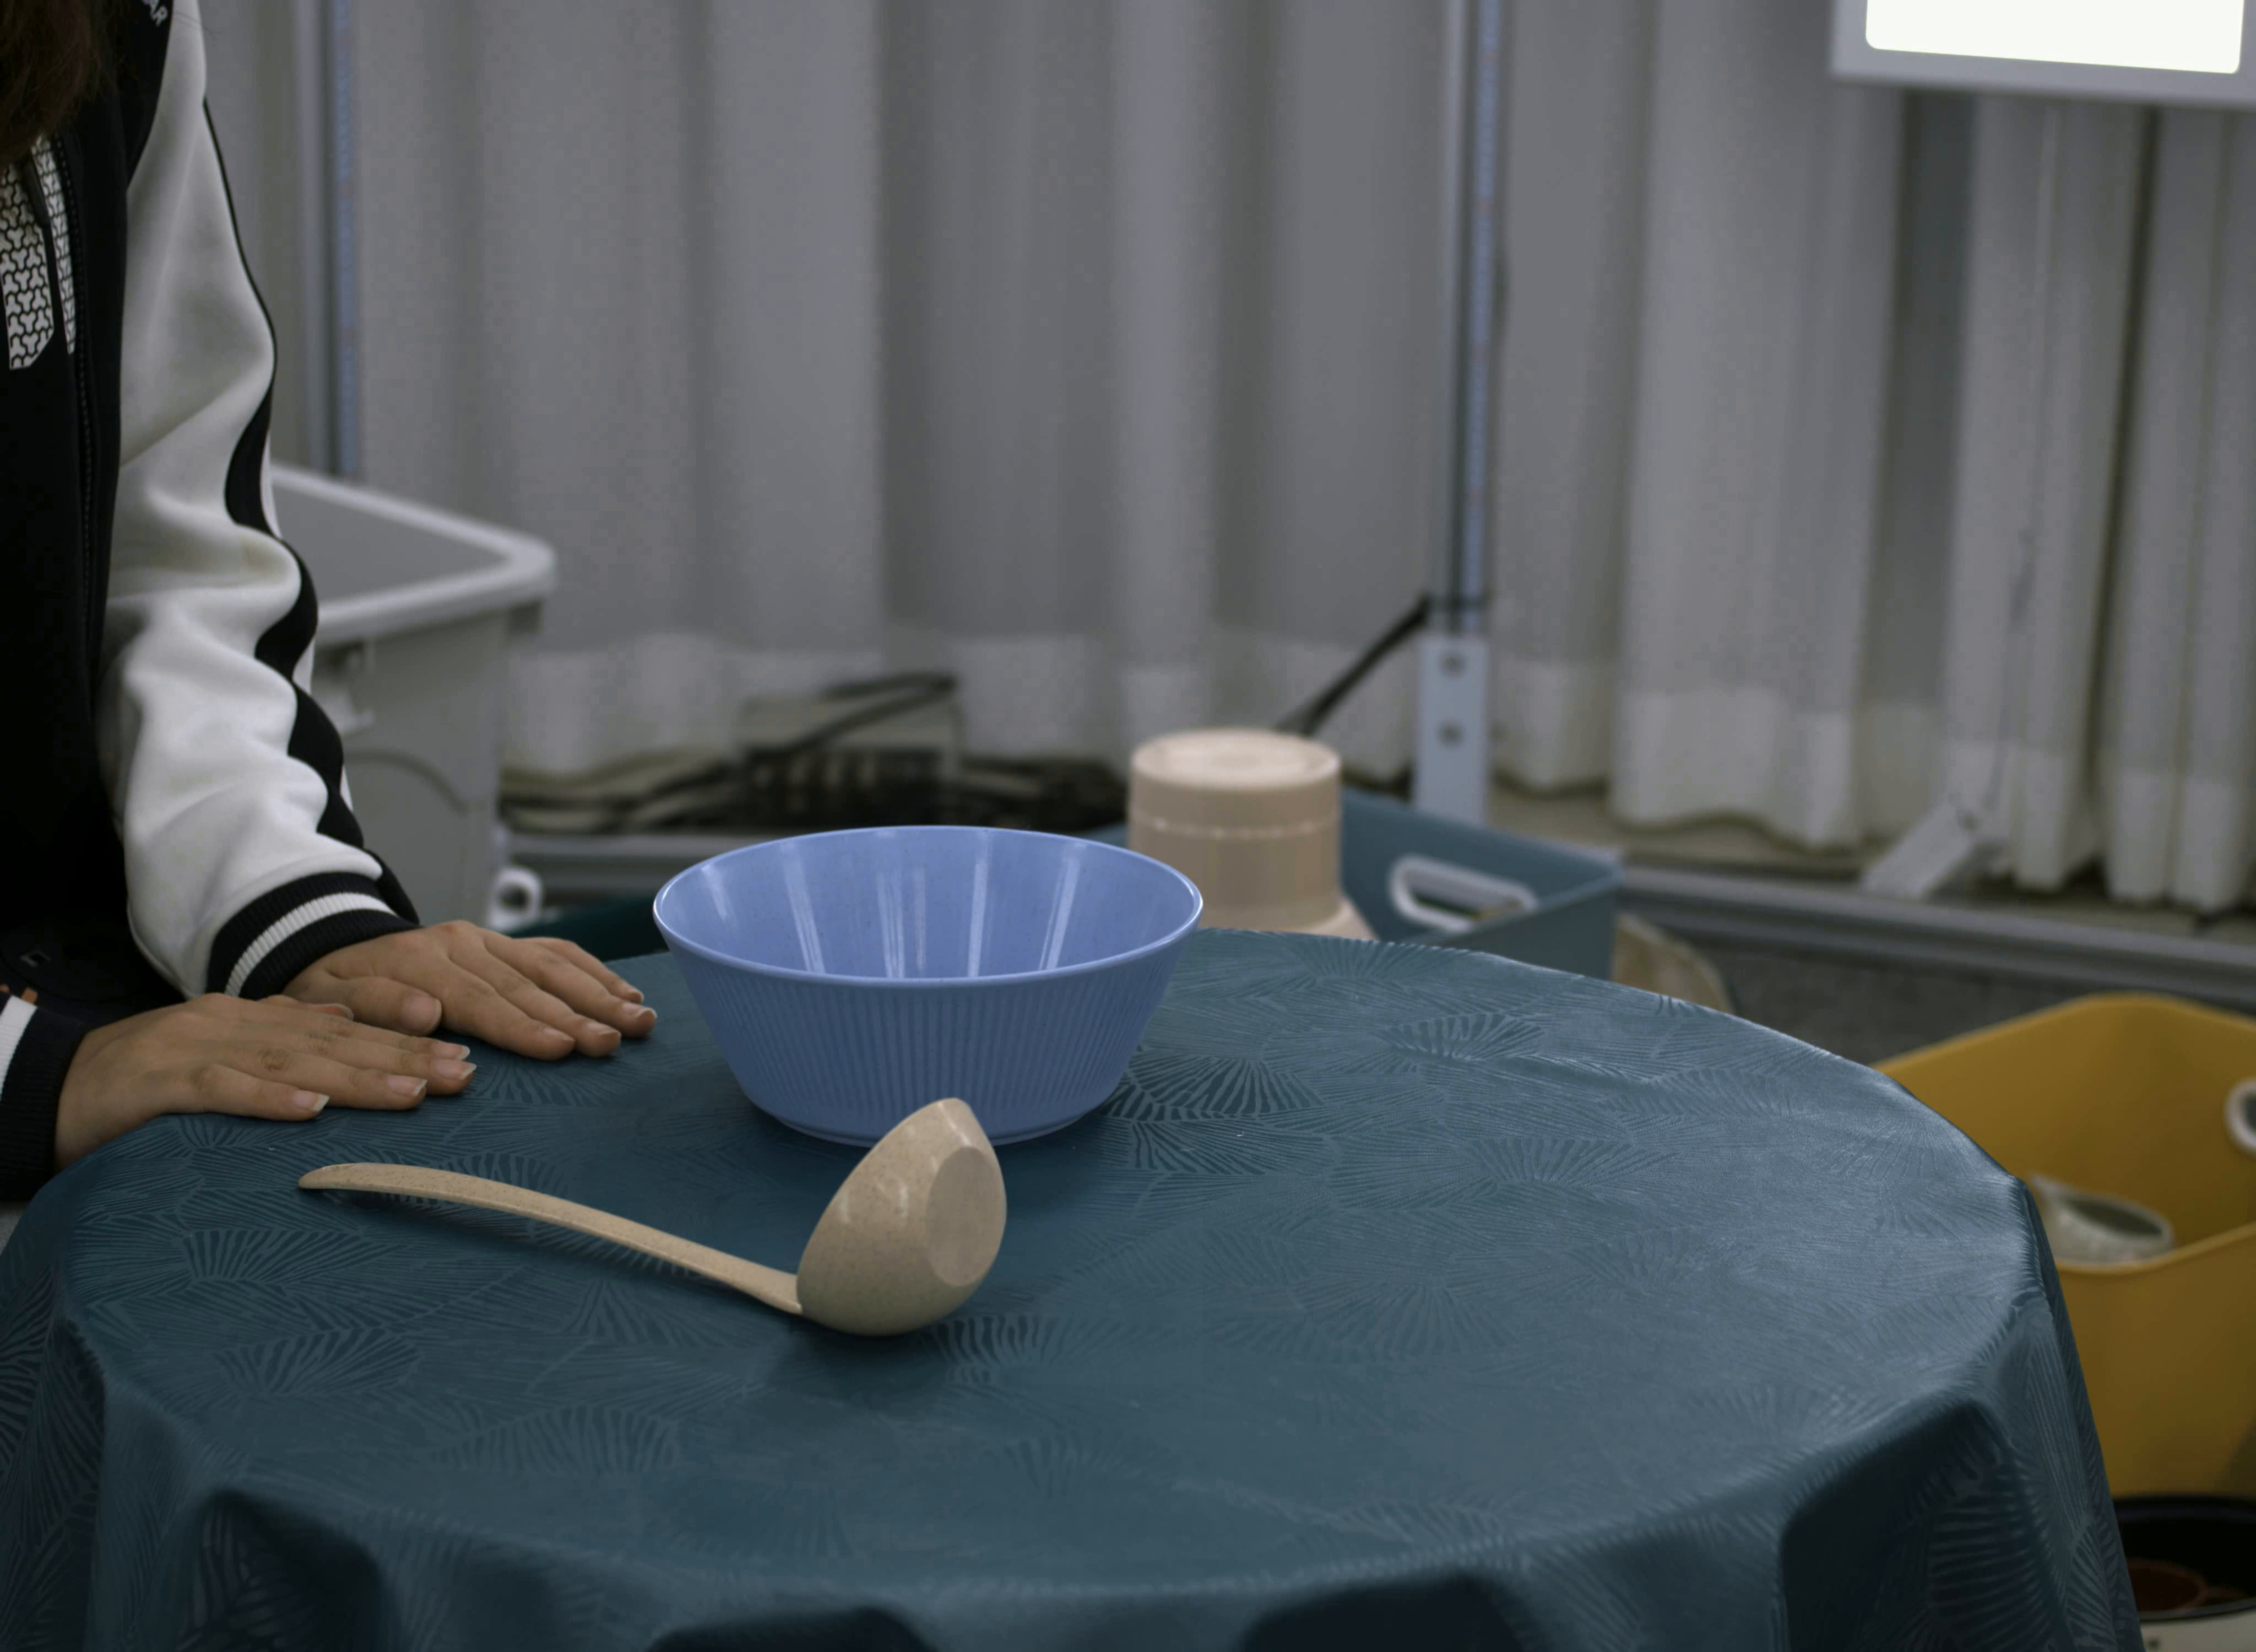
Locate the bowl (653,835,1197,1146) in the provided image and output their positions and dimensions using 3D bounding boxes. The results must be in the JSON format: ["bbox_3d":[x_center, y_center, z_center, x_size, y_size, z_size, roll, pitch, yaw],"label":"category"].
[{"bbox_3d":[-0.065,0.055,1.694,0.175,0.071,0.175,1,15,0],"label":"bowl"}]

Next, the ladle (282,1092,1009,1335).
[{"bbox_3d":[-0.150,0.095,1.542,0.251,0.073,0.072,10,17,30],"label":"ladle"}]
